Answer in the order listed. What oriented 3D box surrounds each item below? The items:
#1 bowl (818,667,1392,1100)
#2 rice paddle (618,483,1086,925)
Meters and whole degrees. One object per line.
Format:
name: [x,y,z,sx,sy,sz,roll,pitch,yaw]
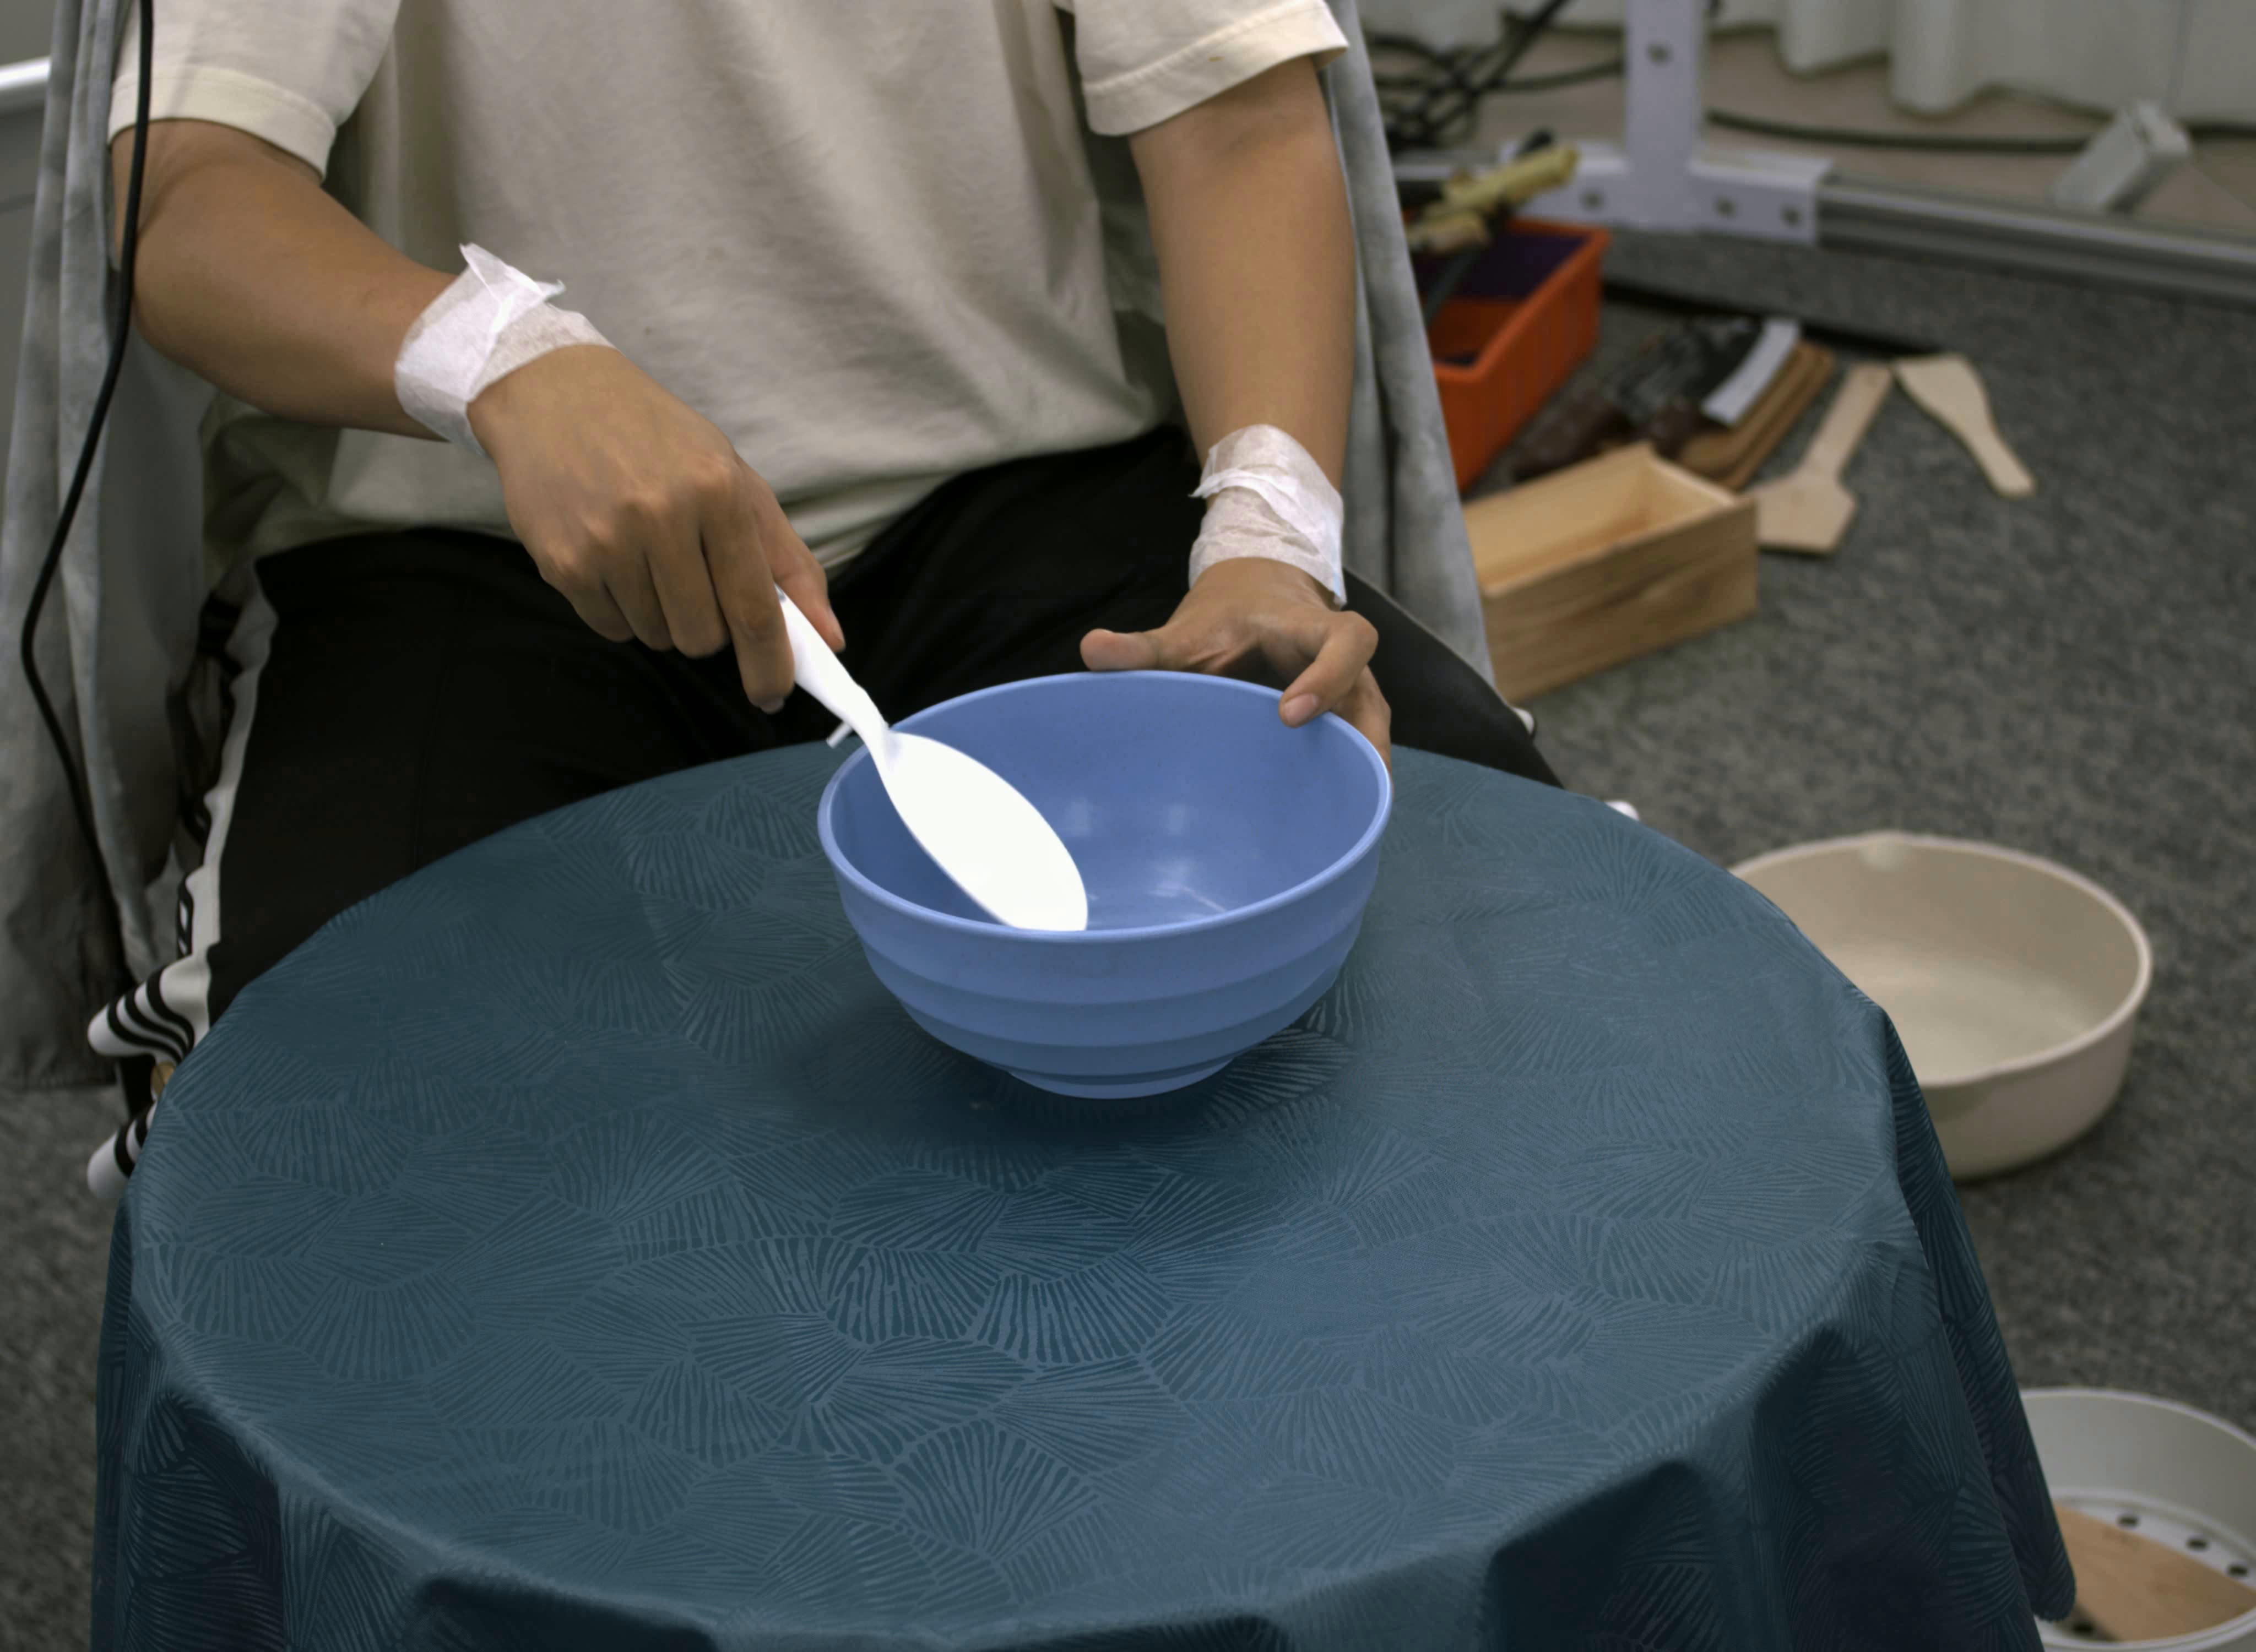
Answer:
bowl: [-0.005,0.030,1.934,0.195,0.094,0.199,-2,28,2]
rice paddle: [-0.089,-0.038,1.927,0.205,0.029,0.070,43,31,-4]
